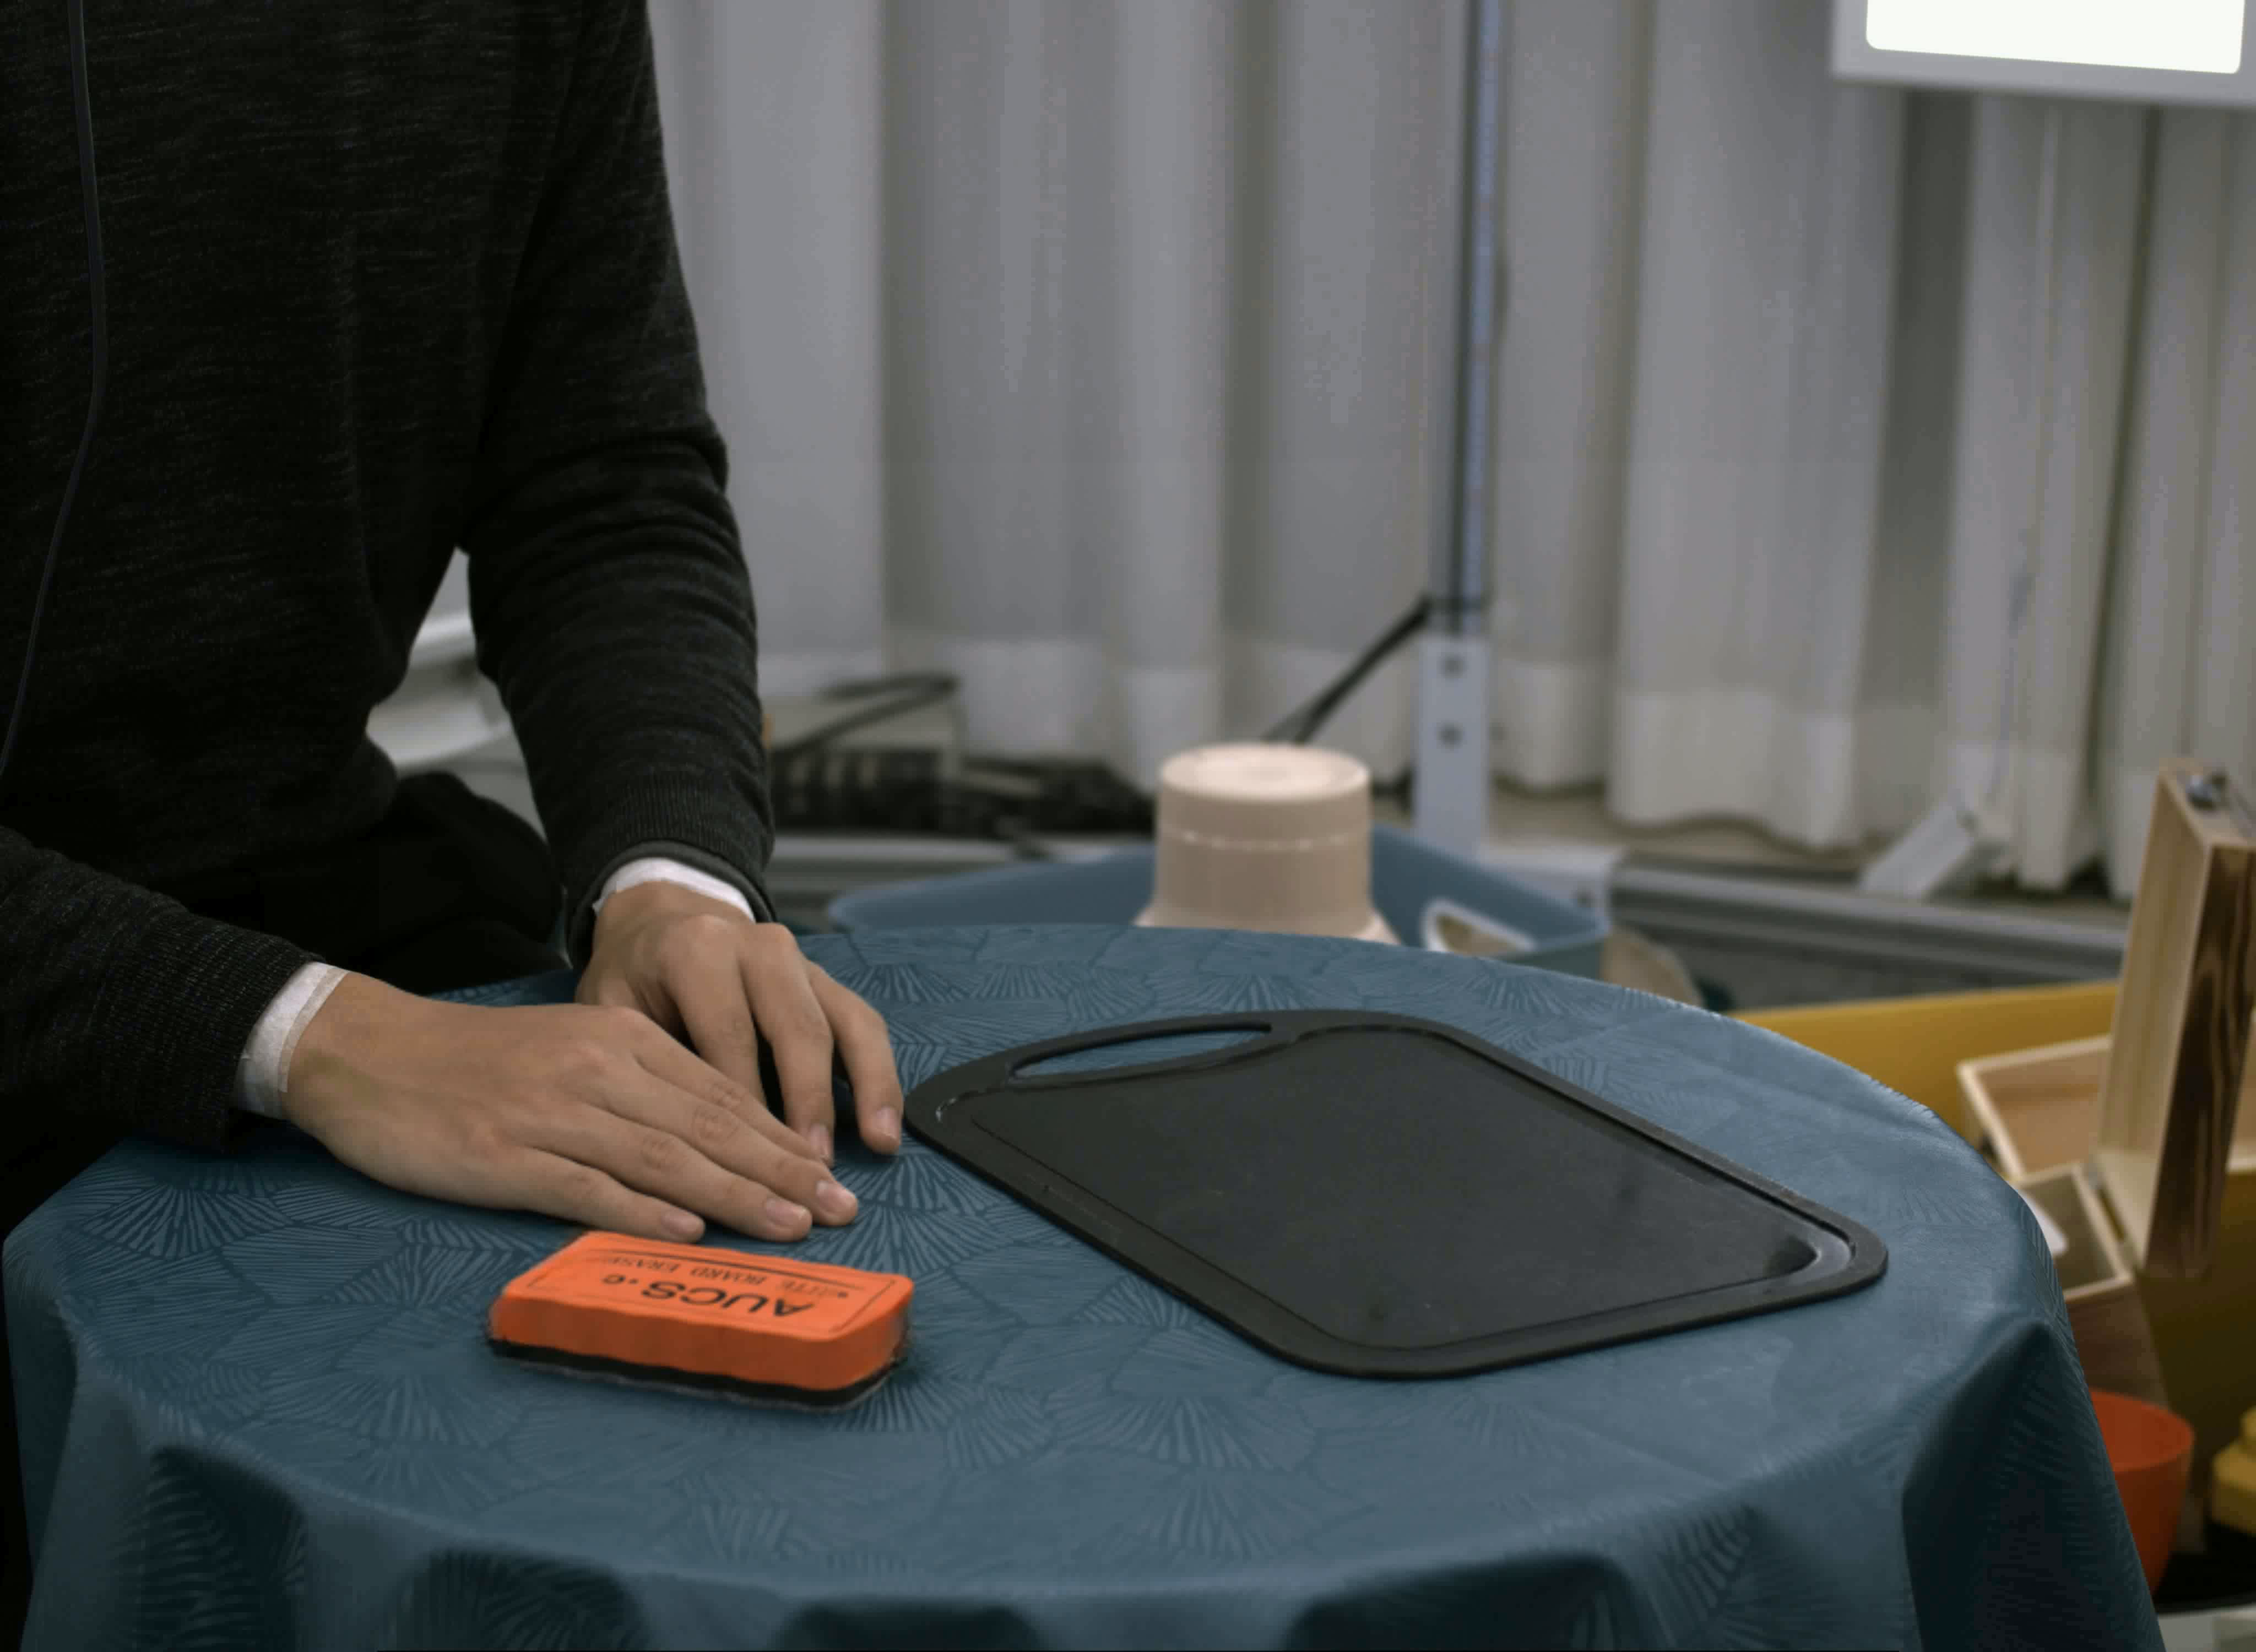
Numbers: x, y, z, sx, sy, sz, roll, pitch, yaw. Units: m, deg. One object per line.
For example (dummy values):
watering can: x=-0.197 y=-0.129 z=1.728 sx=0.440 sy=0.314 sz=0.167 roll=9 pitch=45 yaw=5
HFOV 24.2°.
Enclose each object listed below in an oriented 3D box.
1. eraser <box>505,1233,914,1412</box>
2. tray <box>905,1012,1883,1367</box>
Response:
eraser: x=-0.117 y=0.139 z=1.477 sx=0.107 sy=0.023 sz=0.059 roll=7 pitch=15 yaw=22
tray: x=0.071 y=0.105 z=1.636 sx=0.212 sy=0.010 sz=0.321 roll=-8 pitch=17 yaw=-28
